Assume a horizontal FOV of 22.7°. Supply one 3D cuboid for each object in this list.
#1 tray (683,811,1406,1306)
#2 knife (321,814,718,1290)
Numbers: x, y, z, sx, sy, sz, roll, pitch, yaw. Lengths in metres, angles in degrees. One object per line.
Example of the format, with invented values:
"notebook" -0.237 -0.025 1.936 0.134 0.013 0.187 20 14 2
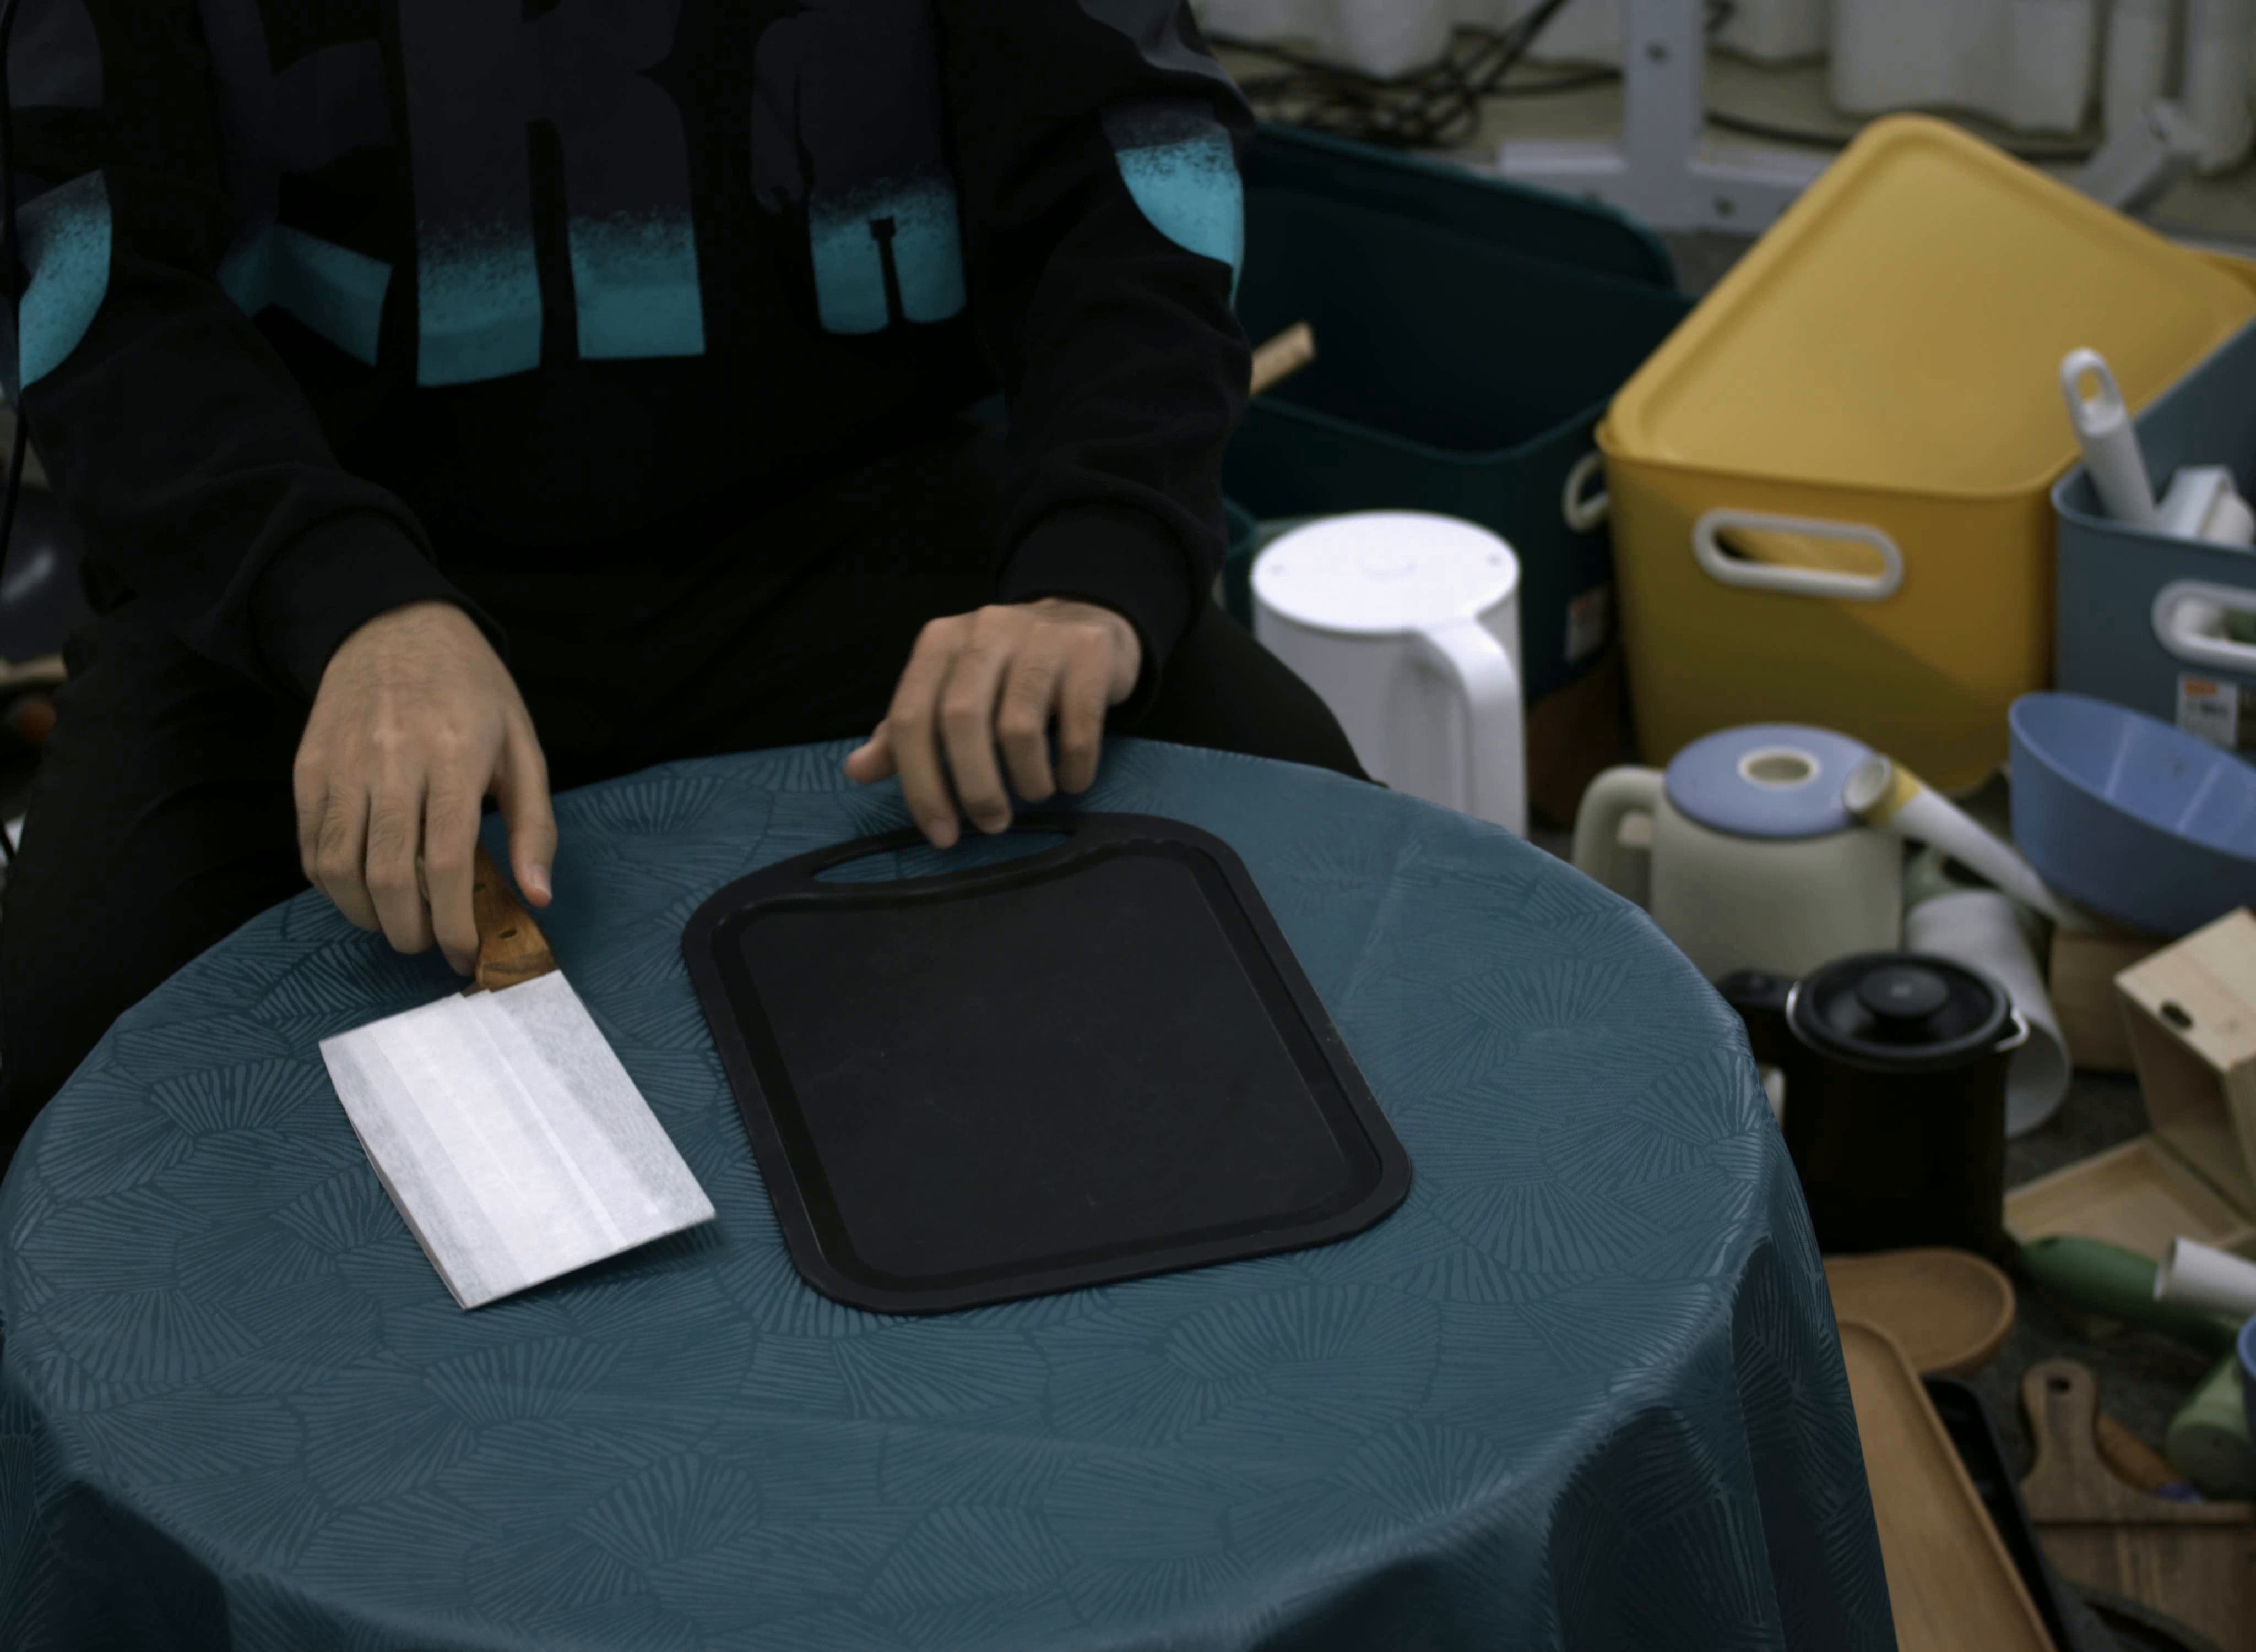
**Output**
"tray" -0.037 0.072 1.953 0.211 0.009 0.329 -9 28 -10
"knife" -0.228 0.078 1.950 0.093 0.021 0.308 -17 31 -15
